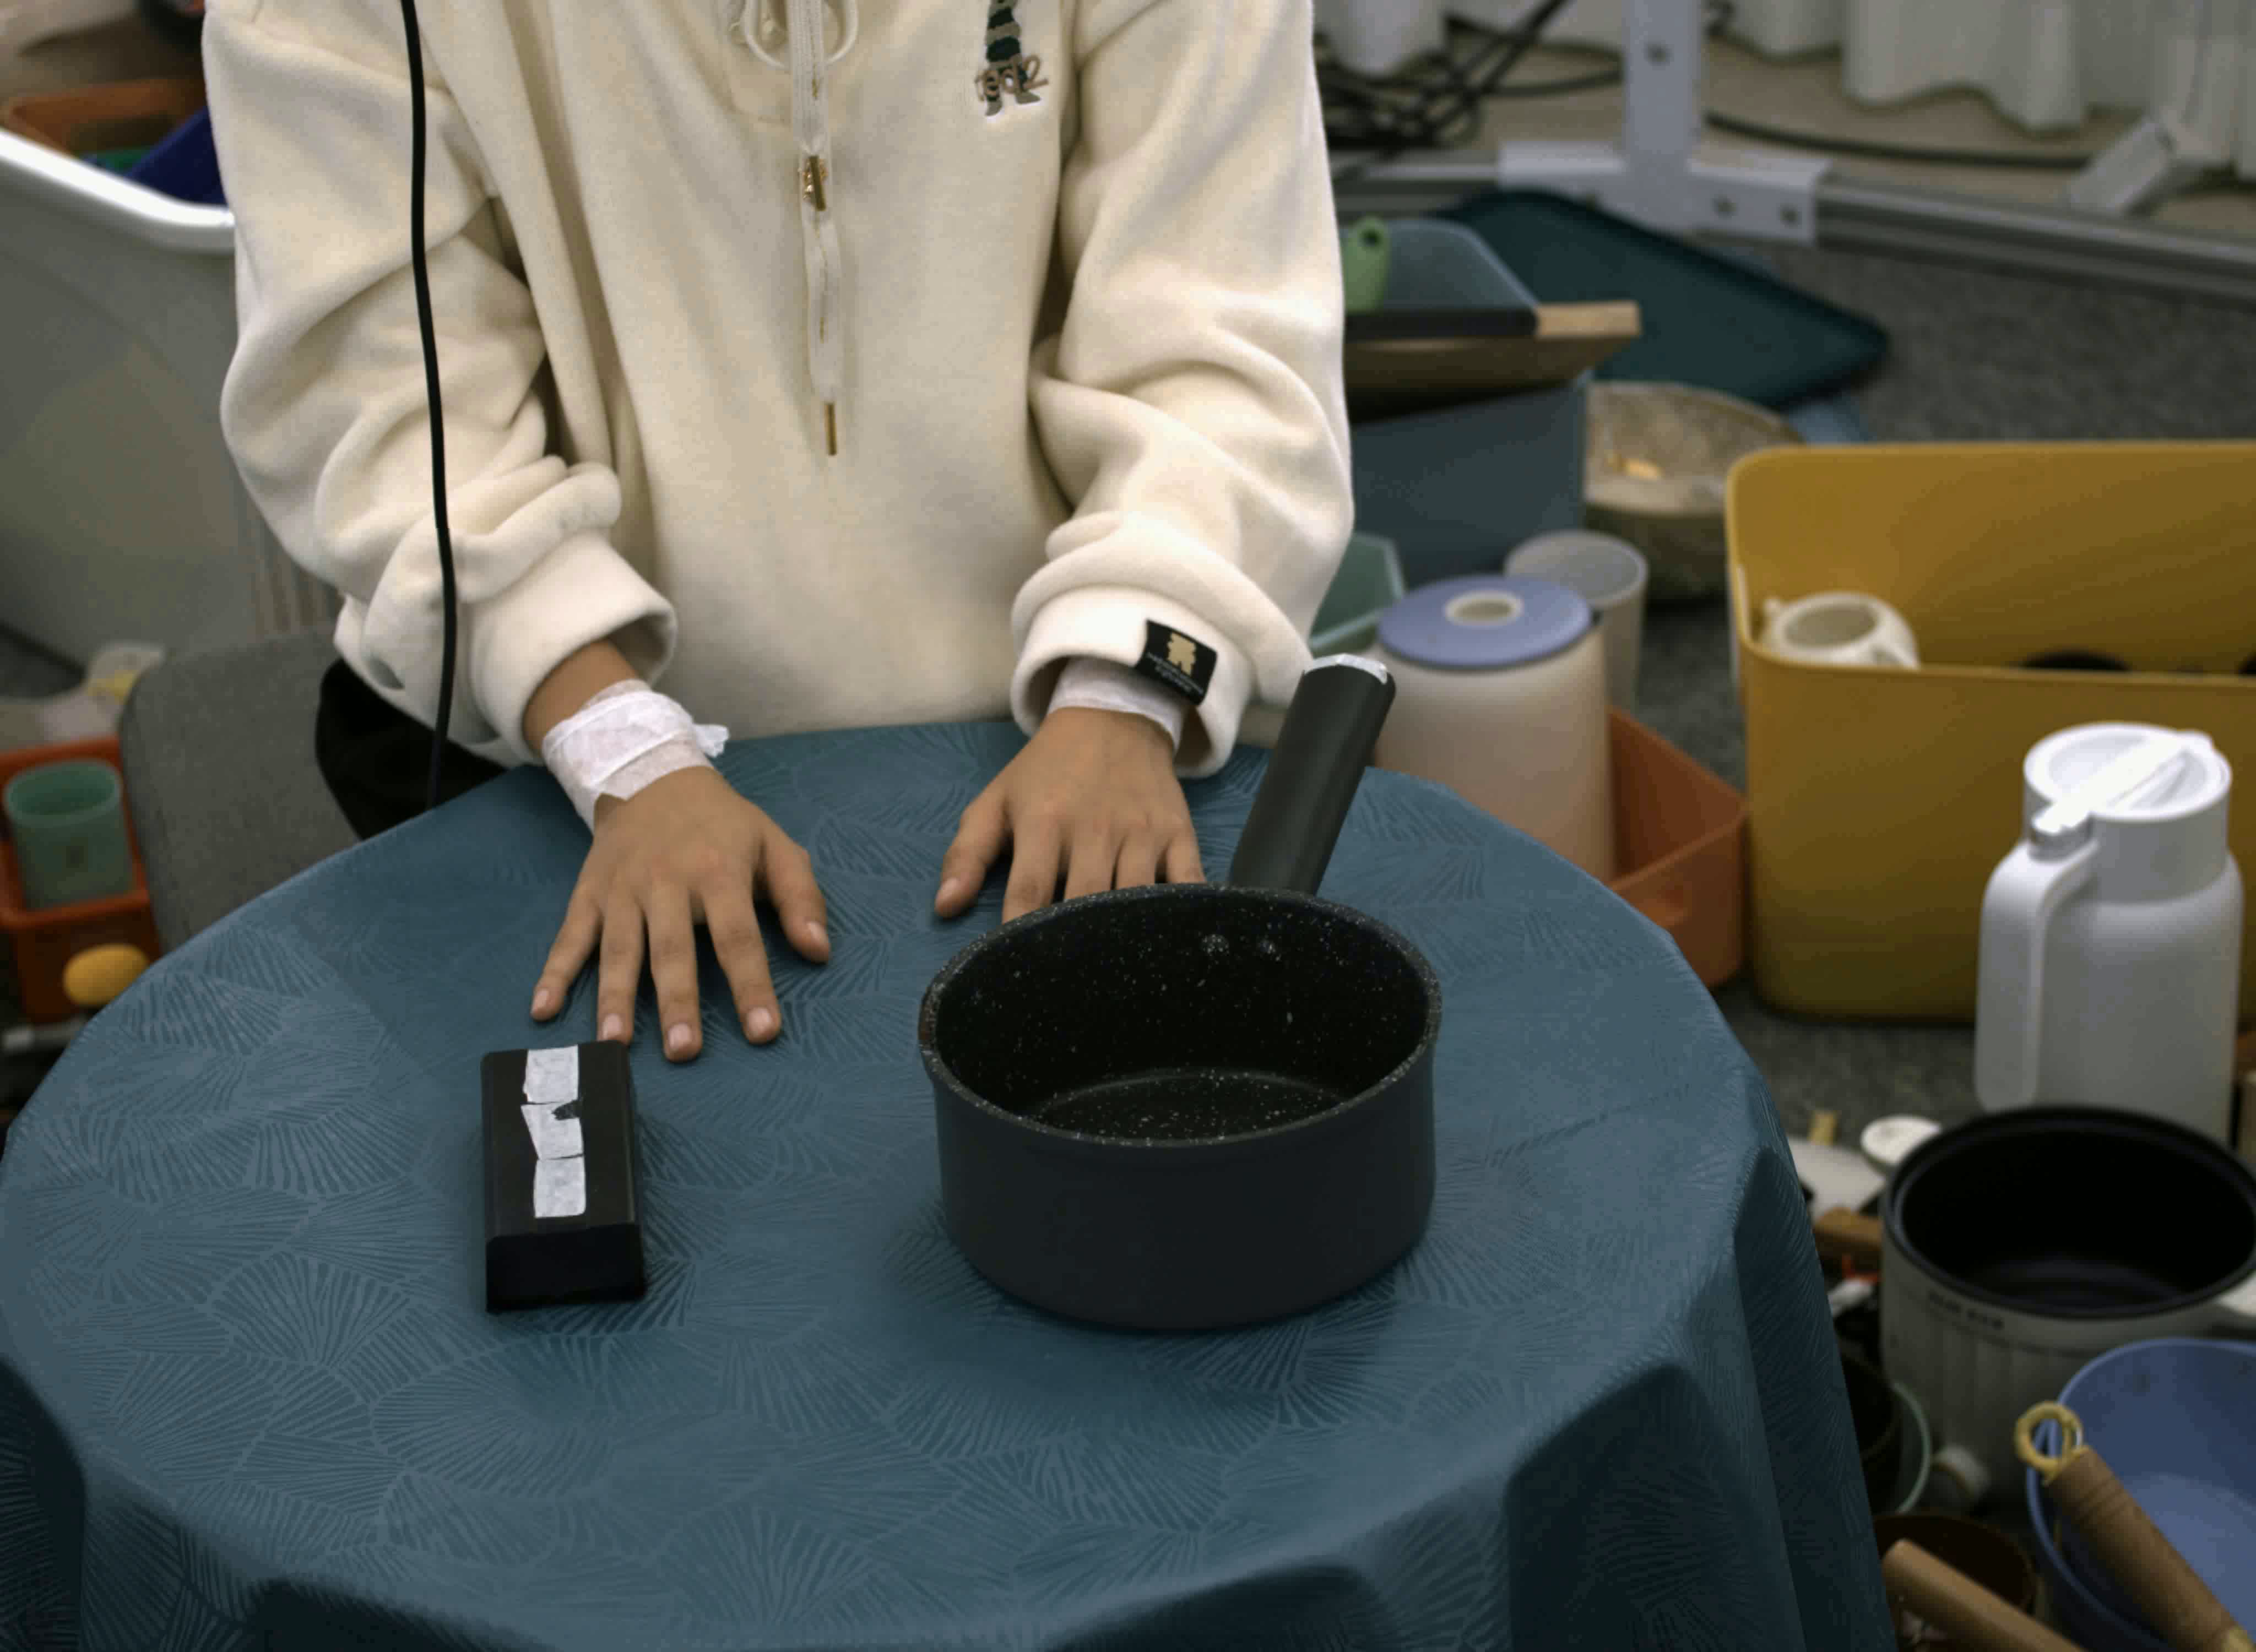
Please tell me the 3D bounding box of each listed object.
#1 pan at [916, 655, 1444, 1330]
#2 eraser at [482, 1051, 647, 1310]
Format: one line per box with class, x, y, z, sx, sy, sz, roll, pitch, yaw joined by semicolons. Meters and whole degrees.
pan;0.042;0.052;1.901;0.171;0.085;0.334;6;30;17
eraser;-0.186;0.117;1.860;0.053;0.030;0.127;-5;26;-4
